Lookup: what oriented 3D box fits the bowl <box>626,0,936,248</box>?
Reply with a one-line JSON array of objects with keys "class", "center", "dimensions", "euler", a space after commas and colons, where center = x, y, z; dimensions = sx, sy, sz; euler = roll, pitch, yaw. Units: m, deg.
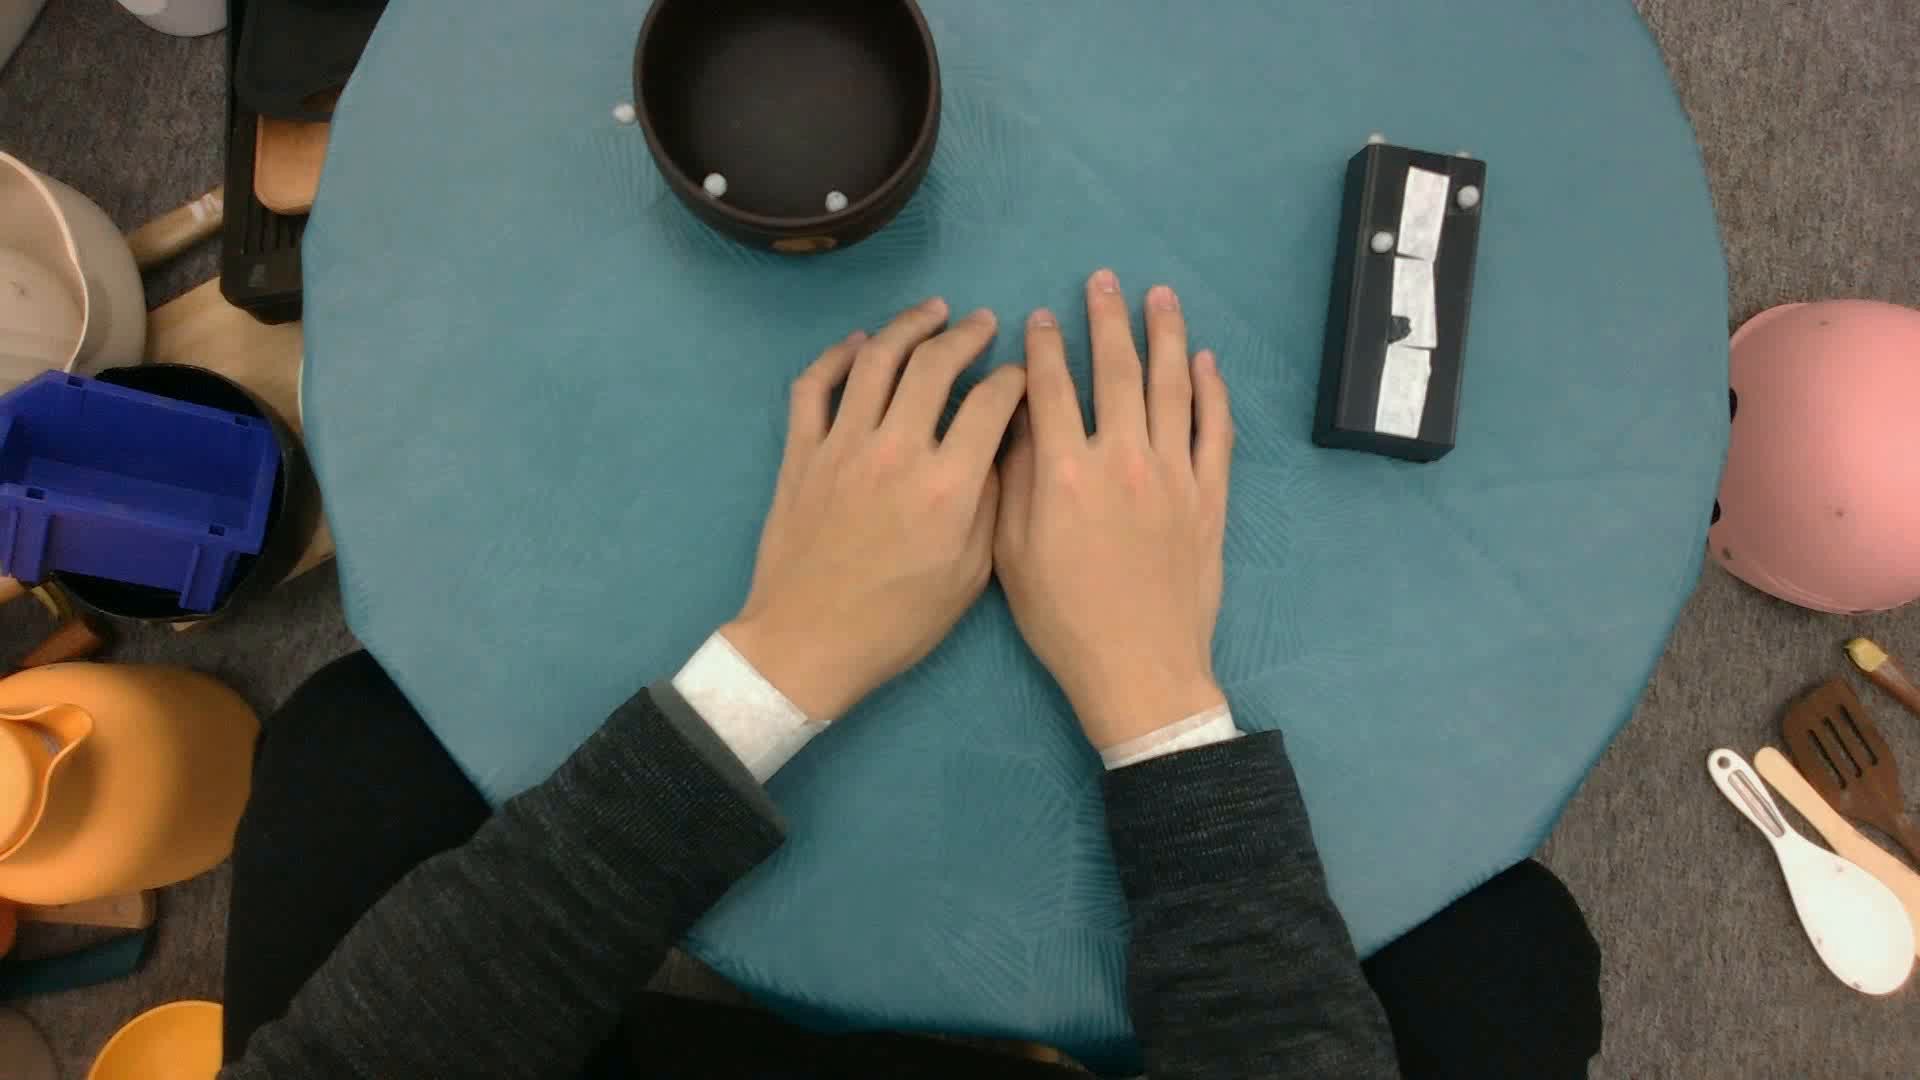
[{"class": "bowl", "center": [-0.069, -0.172, 0.547], "dimensions": [0.118, 0.070, 0.118], "euler": [1, 83, -5]}]

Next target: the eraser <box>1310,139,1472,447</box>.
[{"class": "eraser", "center": [0.179, -0.103, 0.575], "dimensions": [0.053, 0.030, 0.125], "euler": [7, 83, 0]}]
